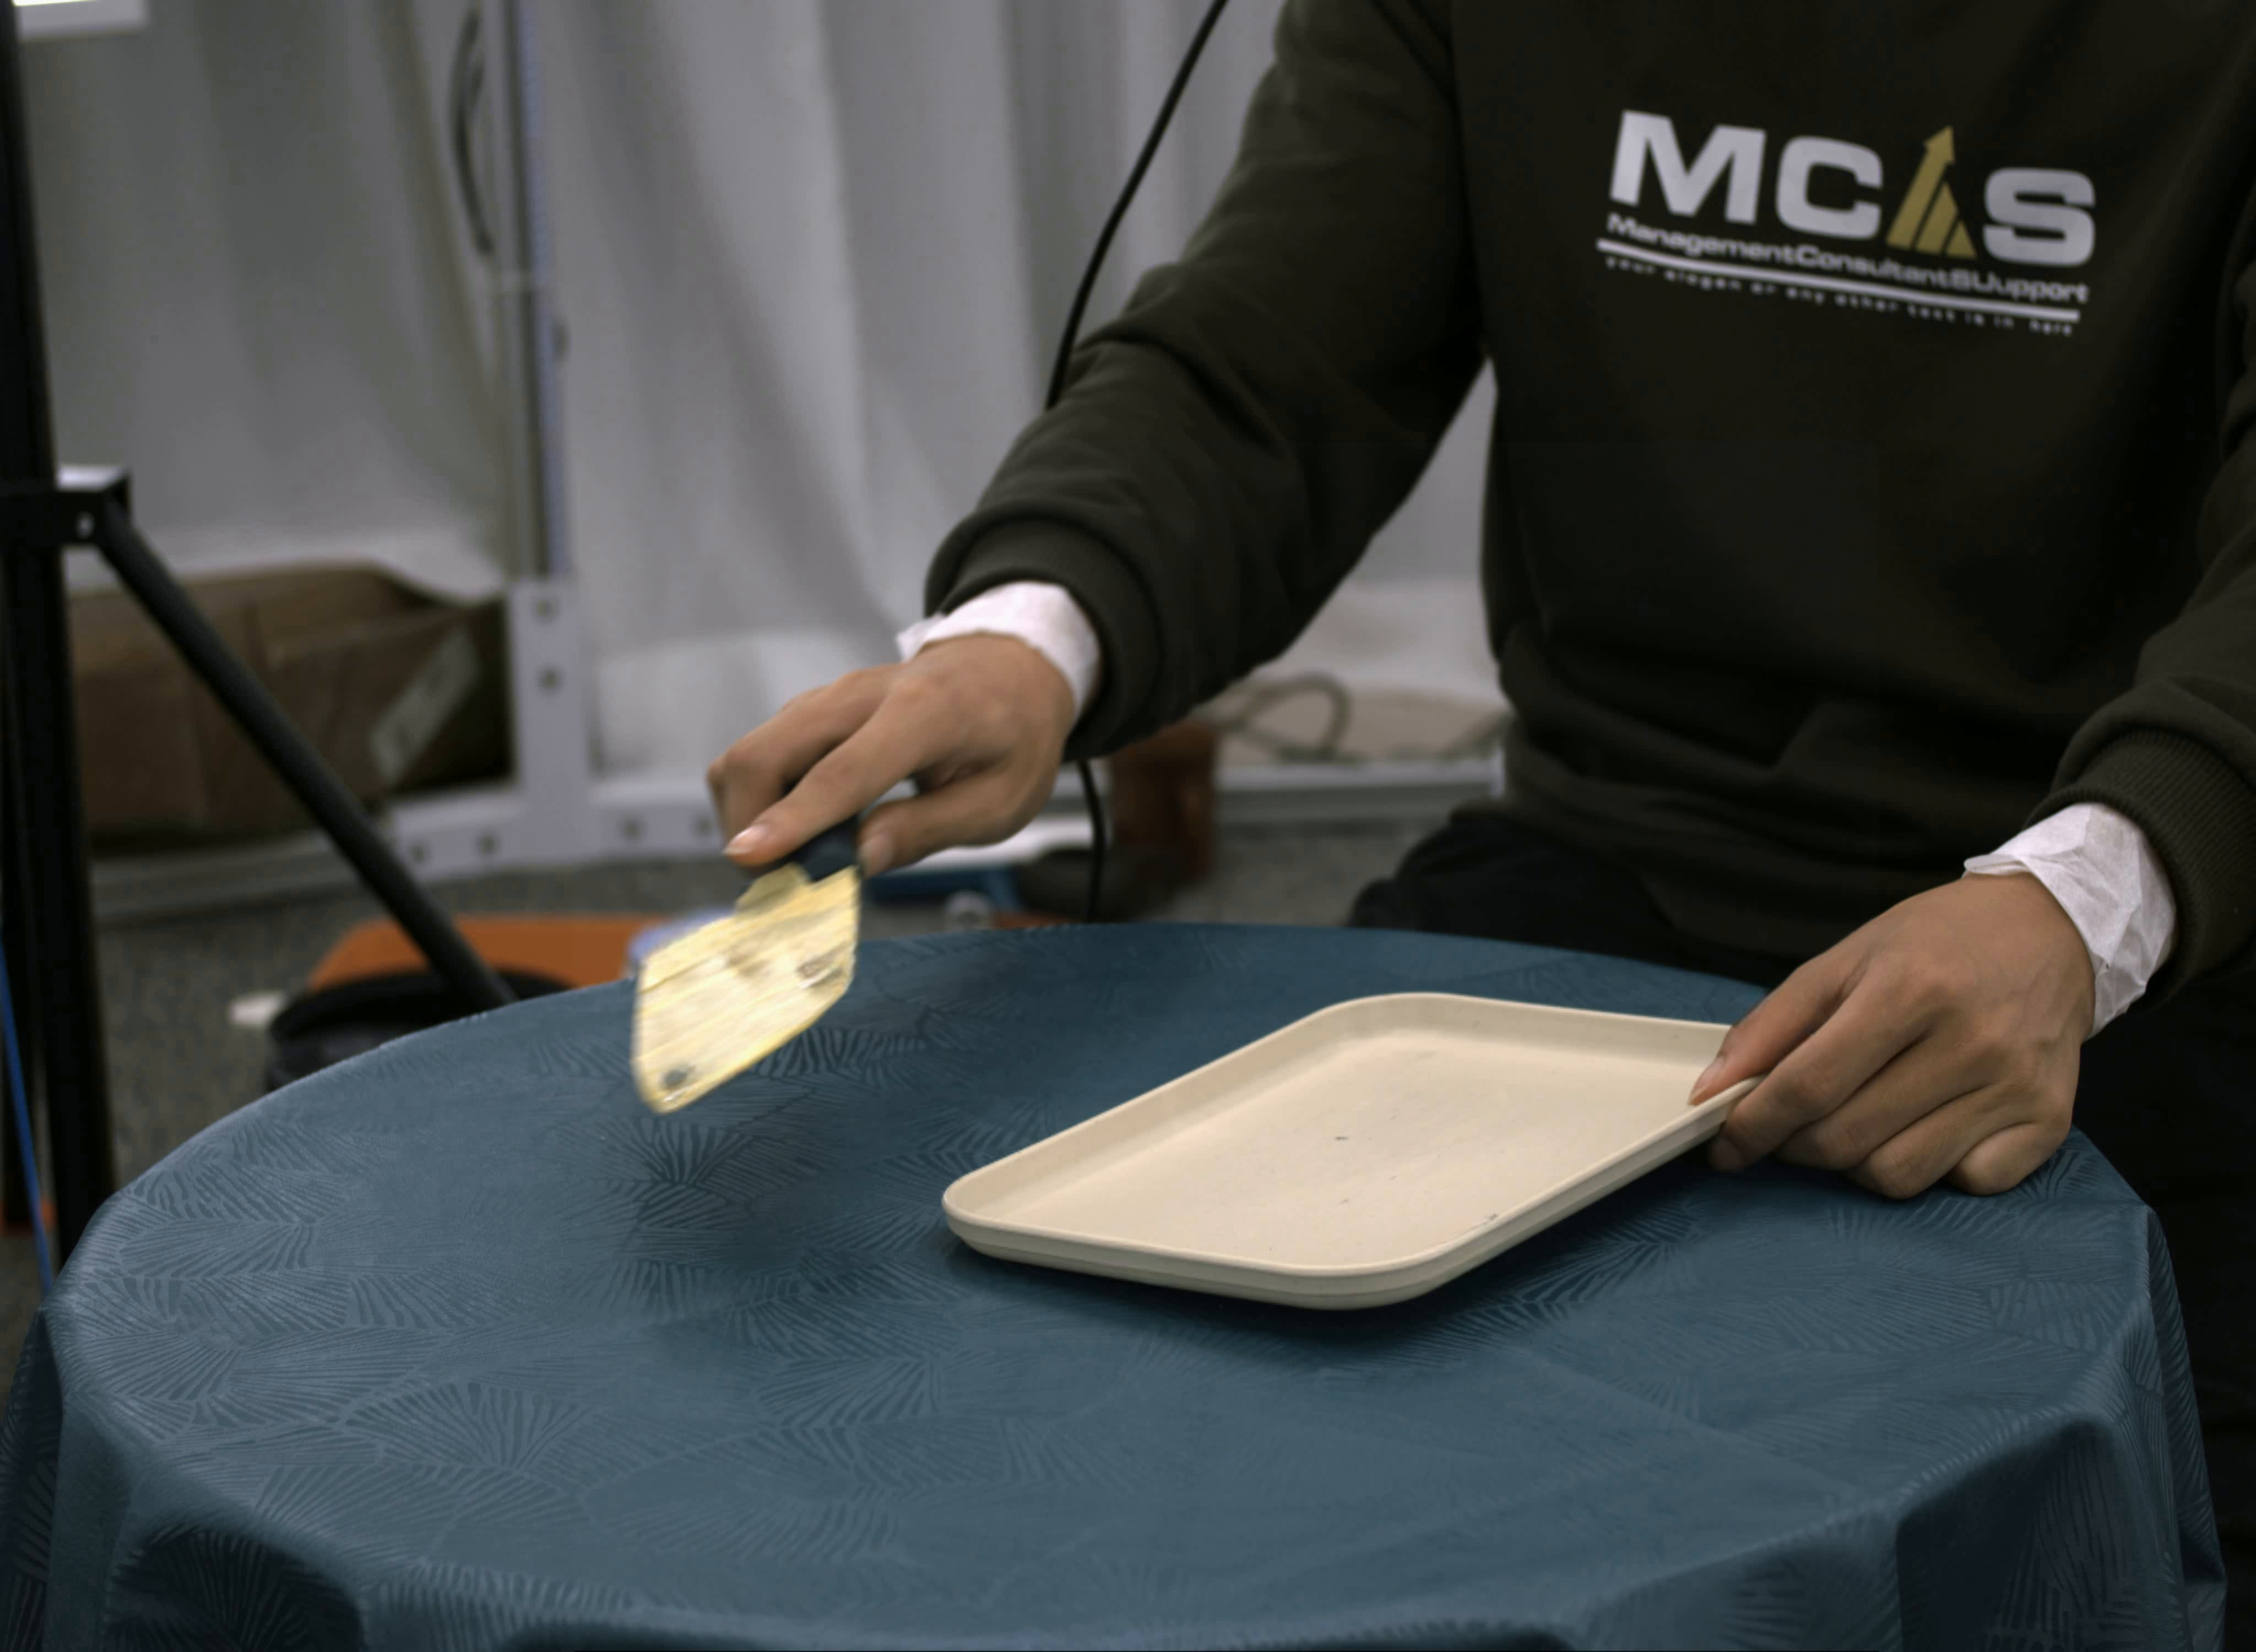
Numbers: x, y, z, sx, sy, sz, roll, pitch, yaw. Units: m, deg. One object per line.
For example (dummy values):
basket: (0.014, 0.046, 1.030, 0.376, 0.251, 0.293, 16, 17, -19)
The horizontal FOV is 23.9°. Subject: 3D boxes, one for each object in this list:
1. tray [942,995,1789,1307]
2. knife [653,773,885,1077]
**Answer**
tray: (0.073, 0.094, 1.550, 0.175, 0.017, 0.234, 4, 17, 39)
knife: (-0.107, 0.029, 1.616, 0.081, 0.027, 0.290, -25, 13, 6)
